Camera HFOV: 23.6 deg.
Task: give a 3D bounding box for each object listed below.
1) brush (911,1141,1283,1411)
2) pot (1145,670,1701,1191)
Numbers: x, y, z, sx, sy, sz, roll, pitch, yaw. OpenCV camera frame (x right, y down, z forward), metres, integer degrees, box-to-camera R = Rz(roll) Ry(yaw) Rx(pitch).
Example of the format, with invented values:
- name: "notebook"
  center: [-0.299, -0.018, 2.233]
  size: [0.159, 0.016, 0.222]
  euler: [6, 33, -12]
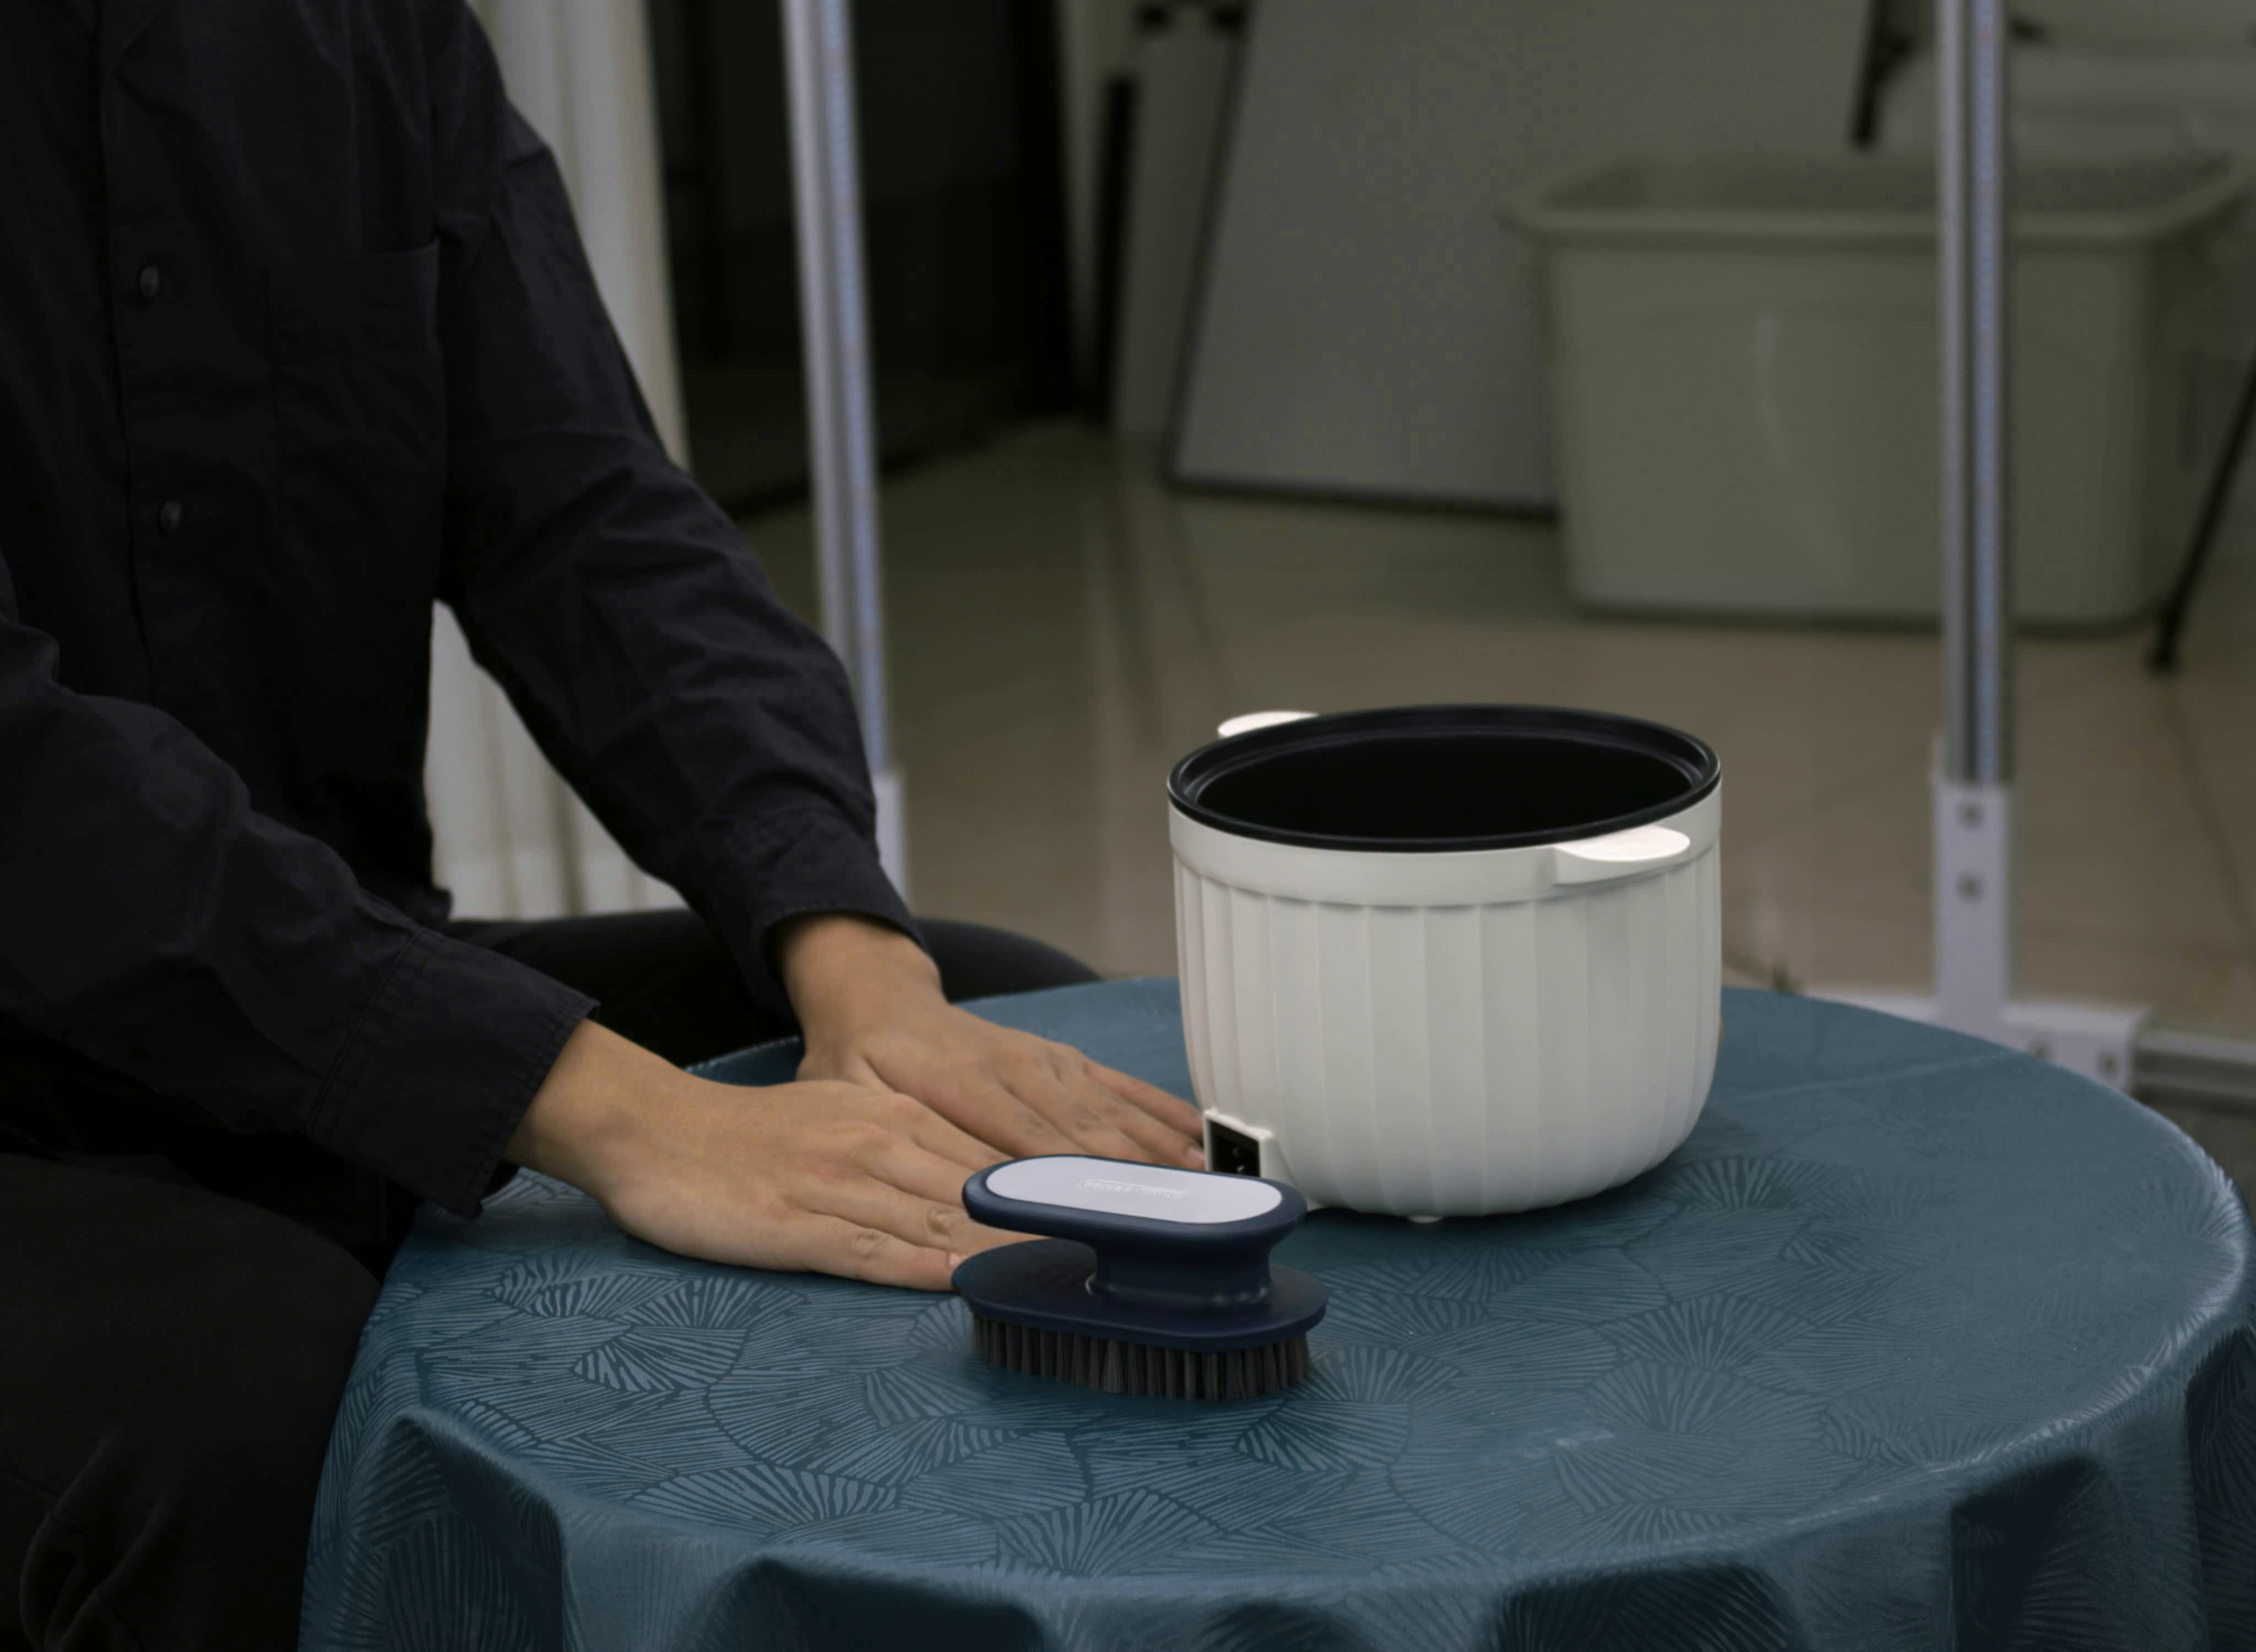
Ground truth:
- name: "brush"
  center: [-0.010, 0.136, 1.609]
  size: [0.122, 0.062, 0.067]
  euler: [11, 22, 34]
- name: "pot"
  center: [0.104, 0.034, 1.778]
  size: [0.186, 0.144, 0.243]
  euler: [-14, 19, -29]
